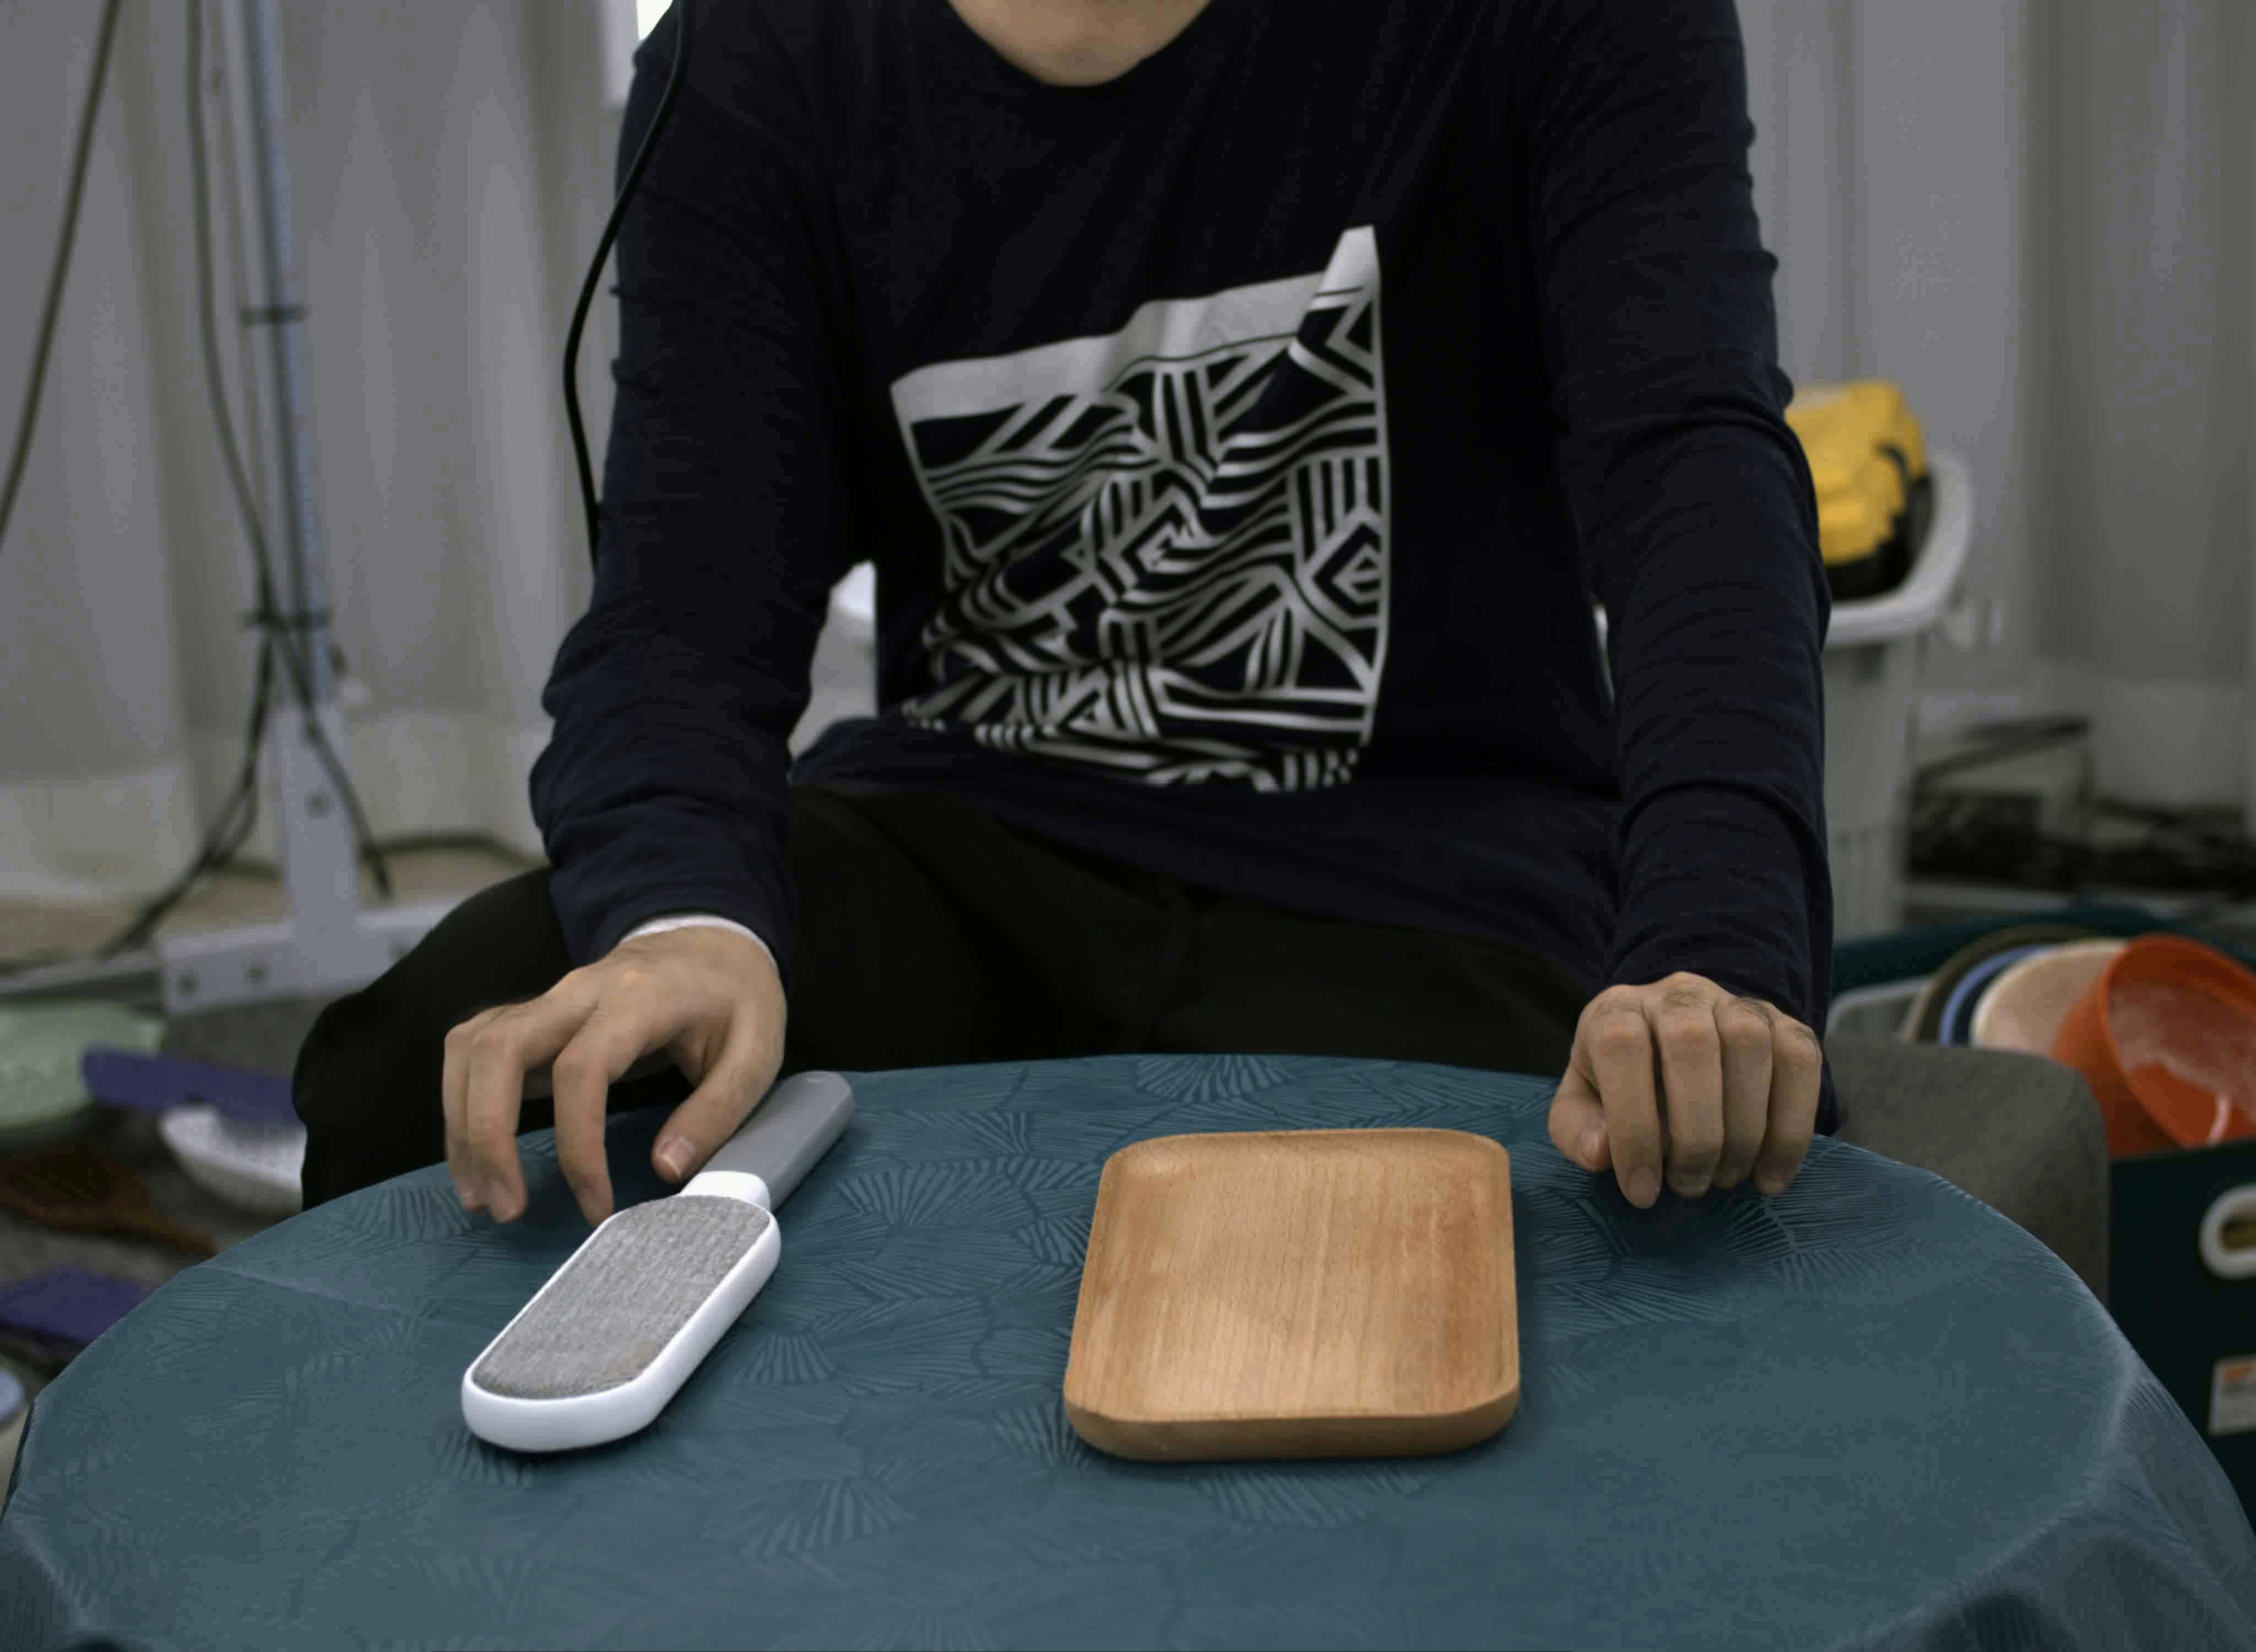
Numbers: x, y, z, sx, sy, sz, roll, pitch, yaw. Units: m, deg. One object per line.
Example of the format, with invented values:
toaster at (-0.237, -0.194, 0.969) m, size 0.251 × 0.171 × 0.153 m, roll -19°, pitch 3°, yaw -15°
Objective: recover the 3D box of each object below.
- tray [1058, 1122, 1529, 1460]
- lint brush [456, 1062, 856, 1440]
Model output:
tray at (0.052, 0.134, 1.603) m, size 0.130 × 0.023 × 0.252 m, roll 1°, pitch 15°, yaw 5°
lint brush at (-0.132, 0.125, 1.653) m, size 0.060 × 0.021 × 0.310 m, roll -4°, pitch 14°, yaw 14°
